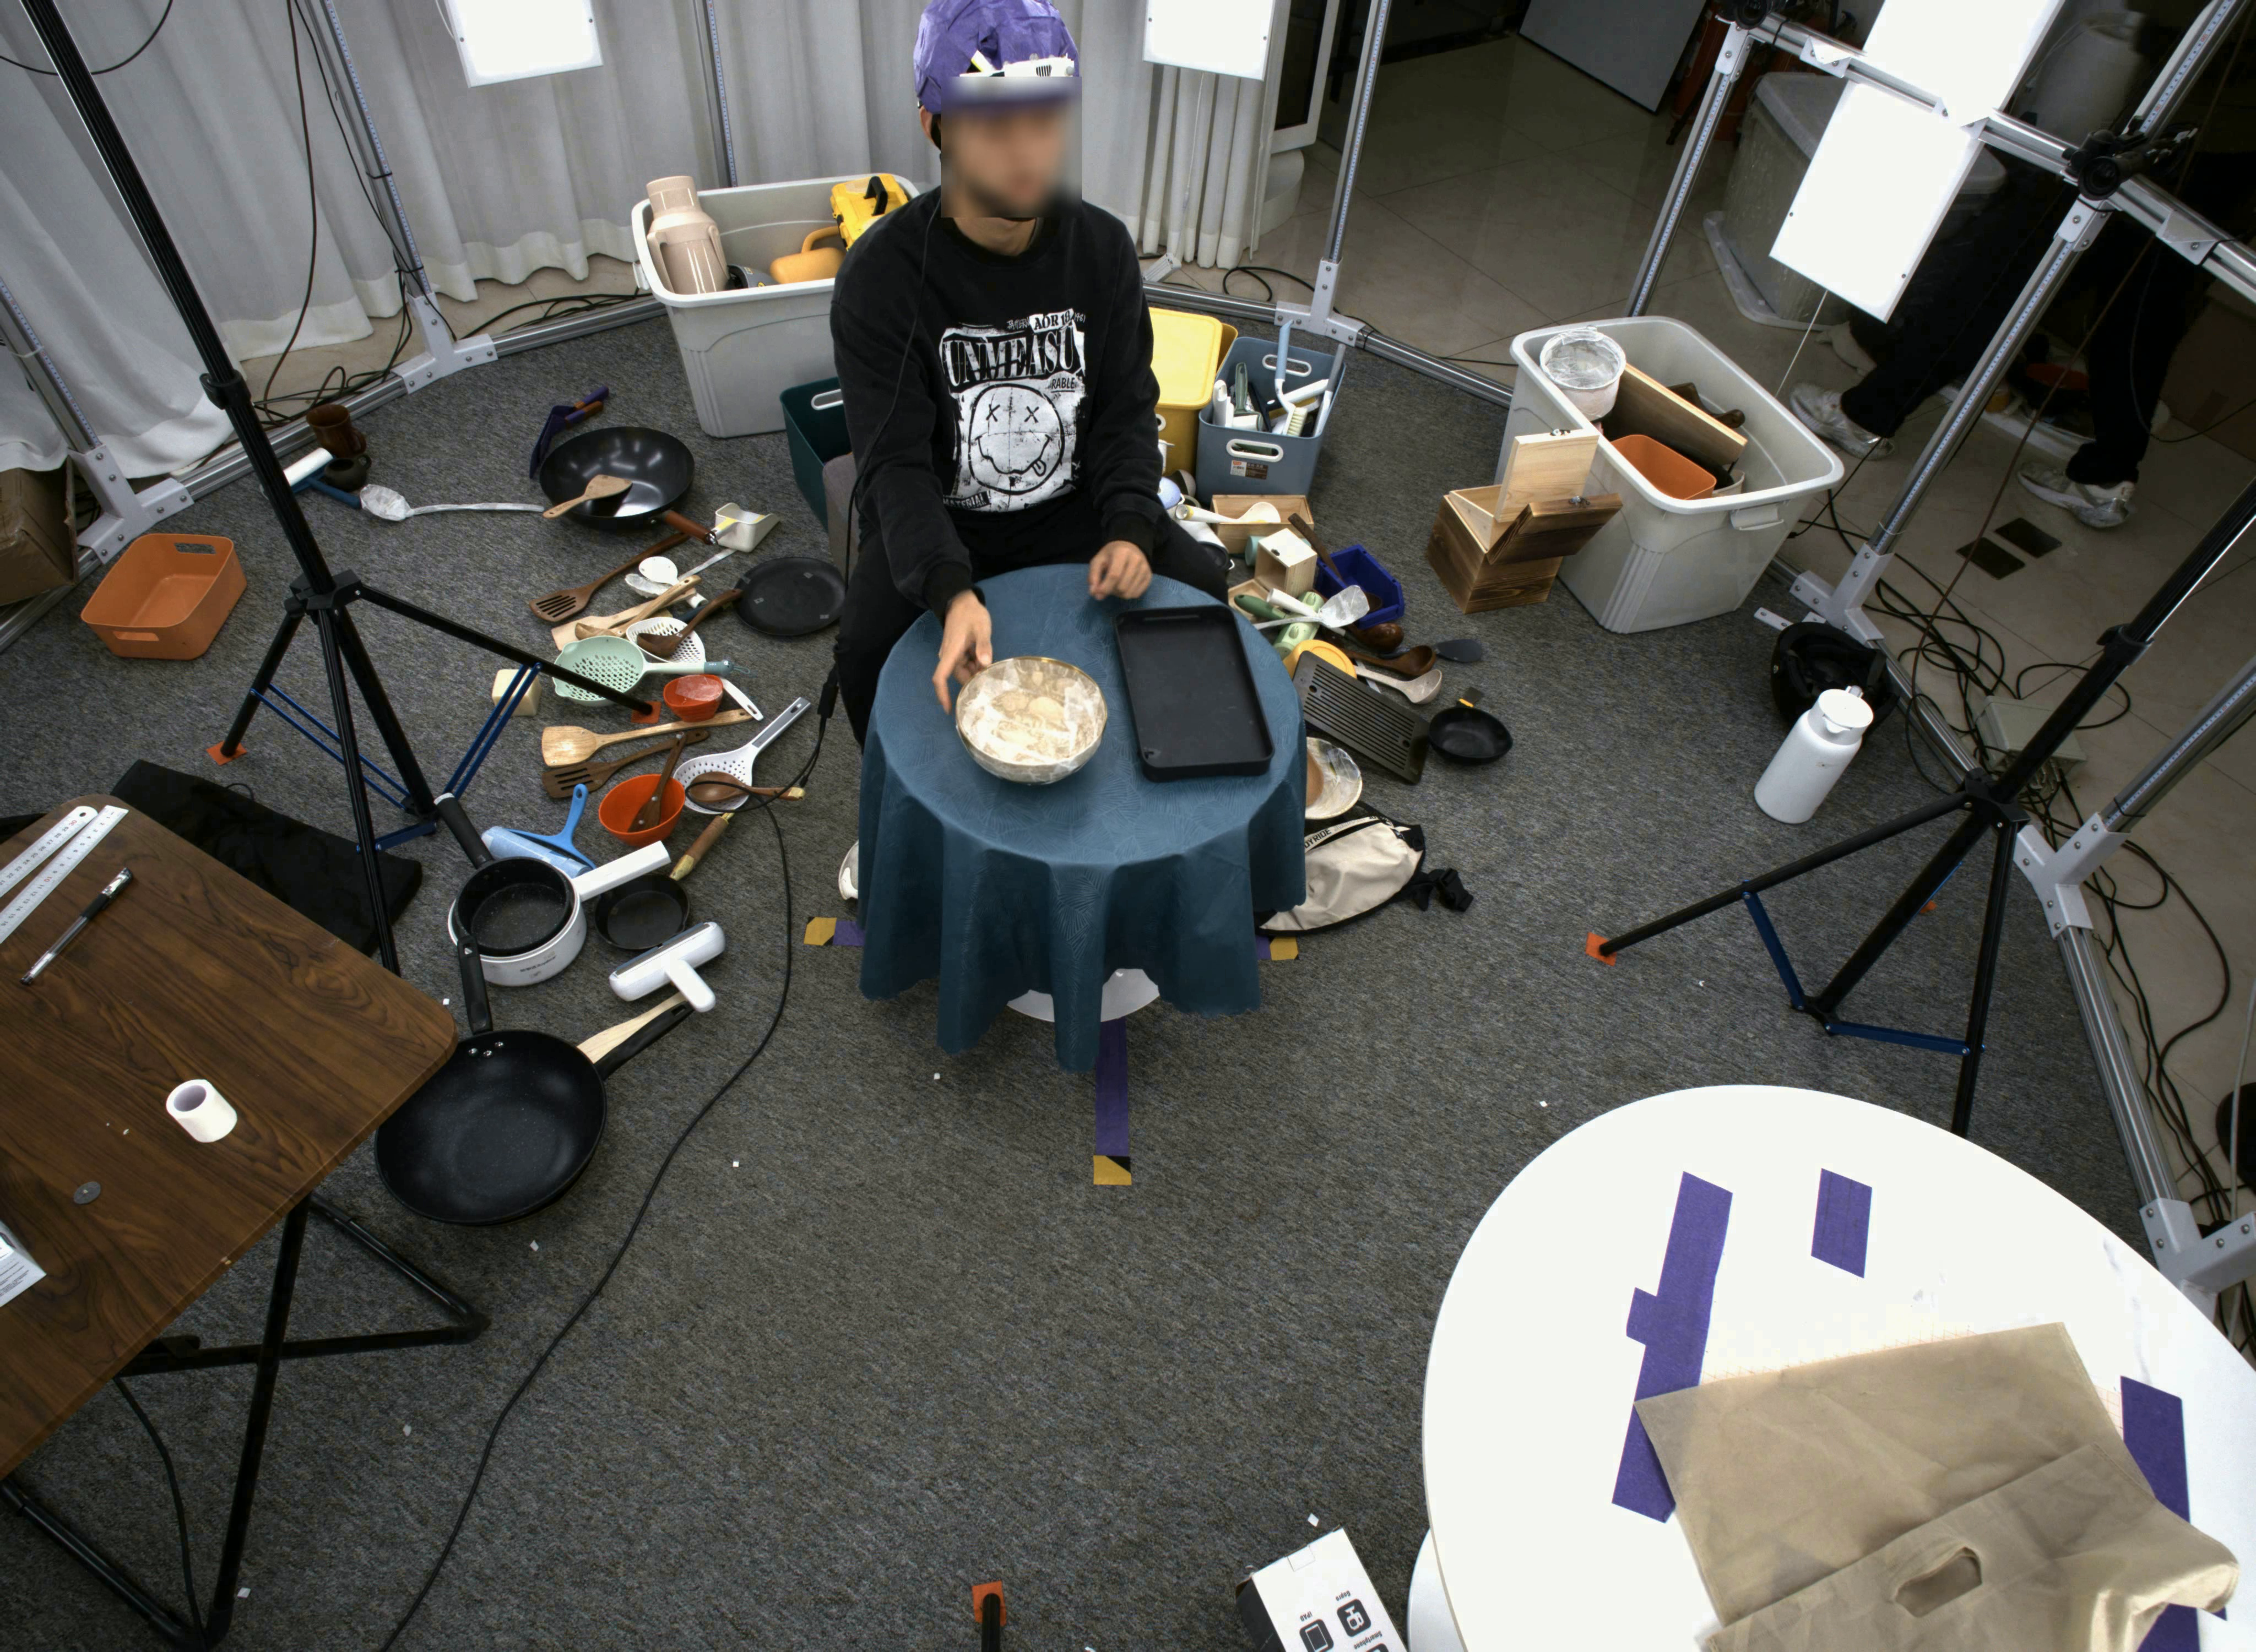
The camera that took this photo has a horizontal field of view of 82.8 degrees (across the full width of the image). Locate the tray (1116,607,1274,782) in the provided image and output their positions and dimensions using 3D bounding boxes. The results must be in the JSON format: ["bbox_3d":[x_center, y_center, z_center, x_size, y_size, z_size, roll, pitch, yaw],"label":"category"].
[{"bbox_3d":[0.089,-0.193,1.833,0.184,0.036,0.326,-4,48,-6],"label":"tray"}]

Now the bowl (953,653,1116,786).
[{"bbox_3d":[-0.127,-0.128,1.727,0.214,0.092,0.220,1,49,-1],"label":"bowl"}]
